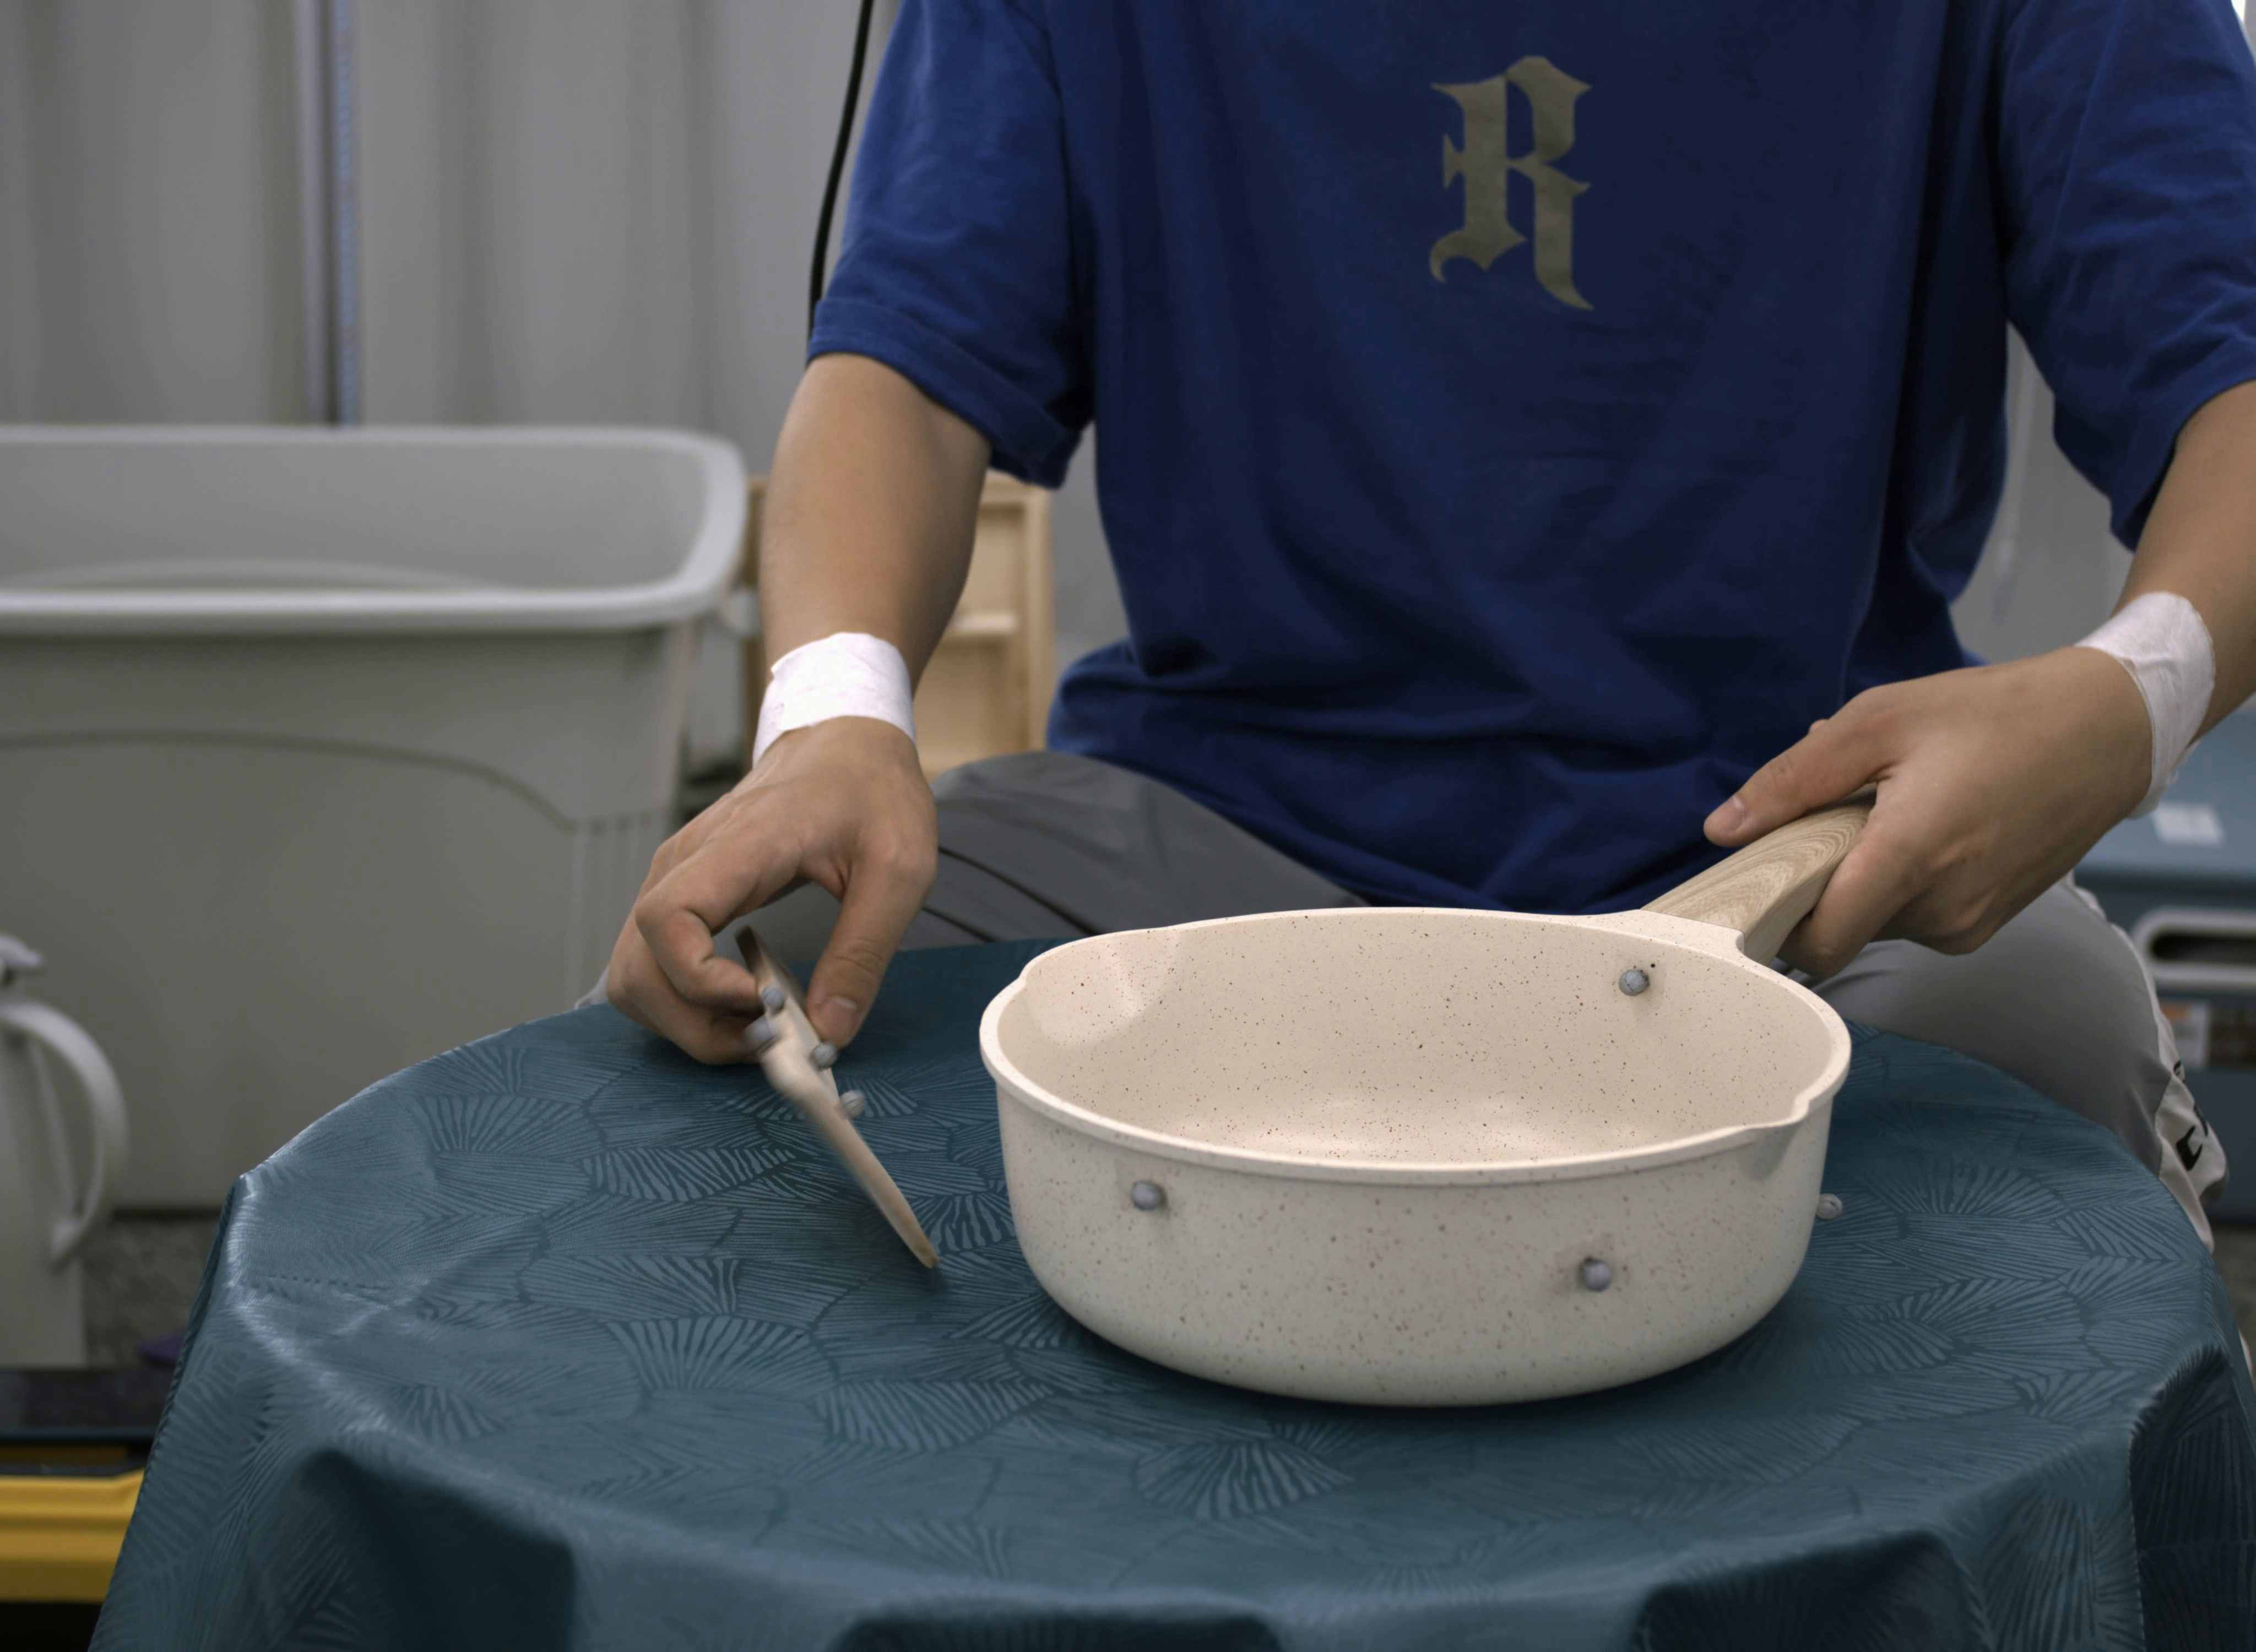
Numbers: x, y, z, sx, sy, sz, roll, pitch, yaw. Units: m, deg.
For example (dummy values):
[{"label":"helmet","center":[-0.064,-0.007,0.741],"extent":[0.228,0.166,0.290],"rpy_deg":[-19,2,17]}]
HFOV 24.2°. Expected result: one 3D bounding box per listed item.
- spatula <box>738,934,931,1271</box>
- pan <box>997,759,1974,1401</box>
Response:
[{"label":"spatula","center":[-0.102,0.076,1.665],"extent":[0.073,0.010,0.291],"rpy_deg":[44,4,-14]},{"label":"pan","center":[0.143,0.071,1.592],"extent":[0.260,0.103,0.437],"rpy_deg":[10,18,36]}]
